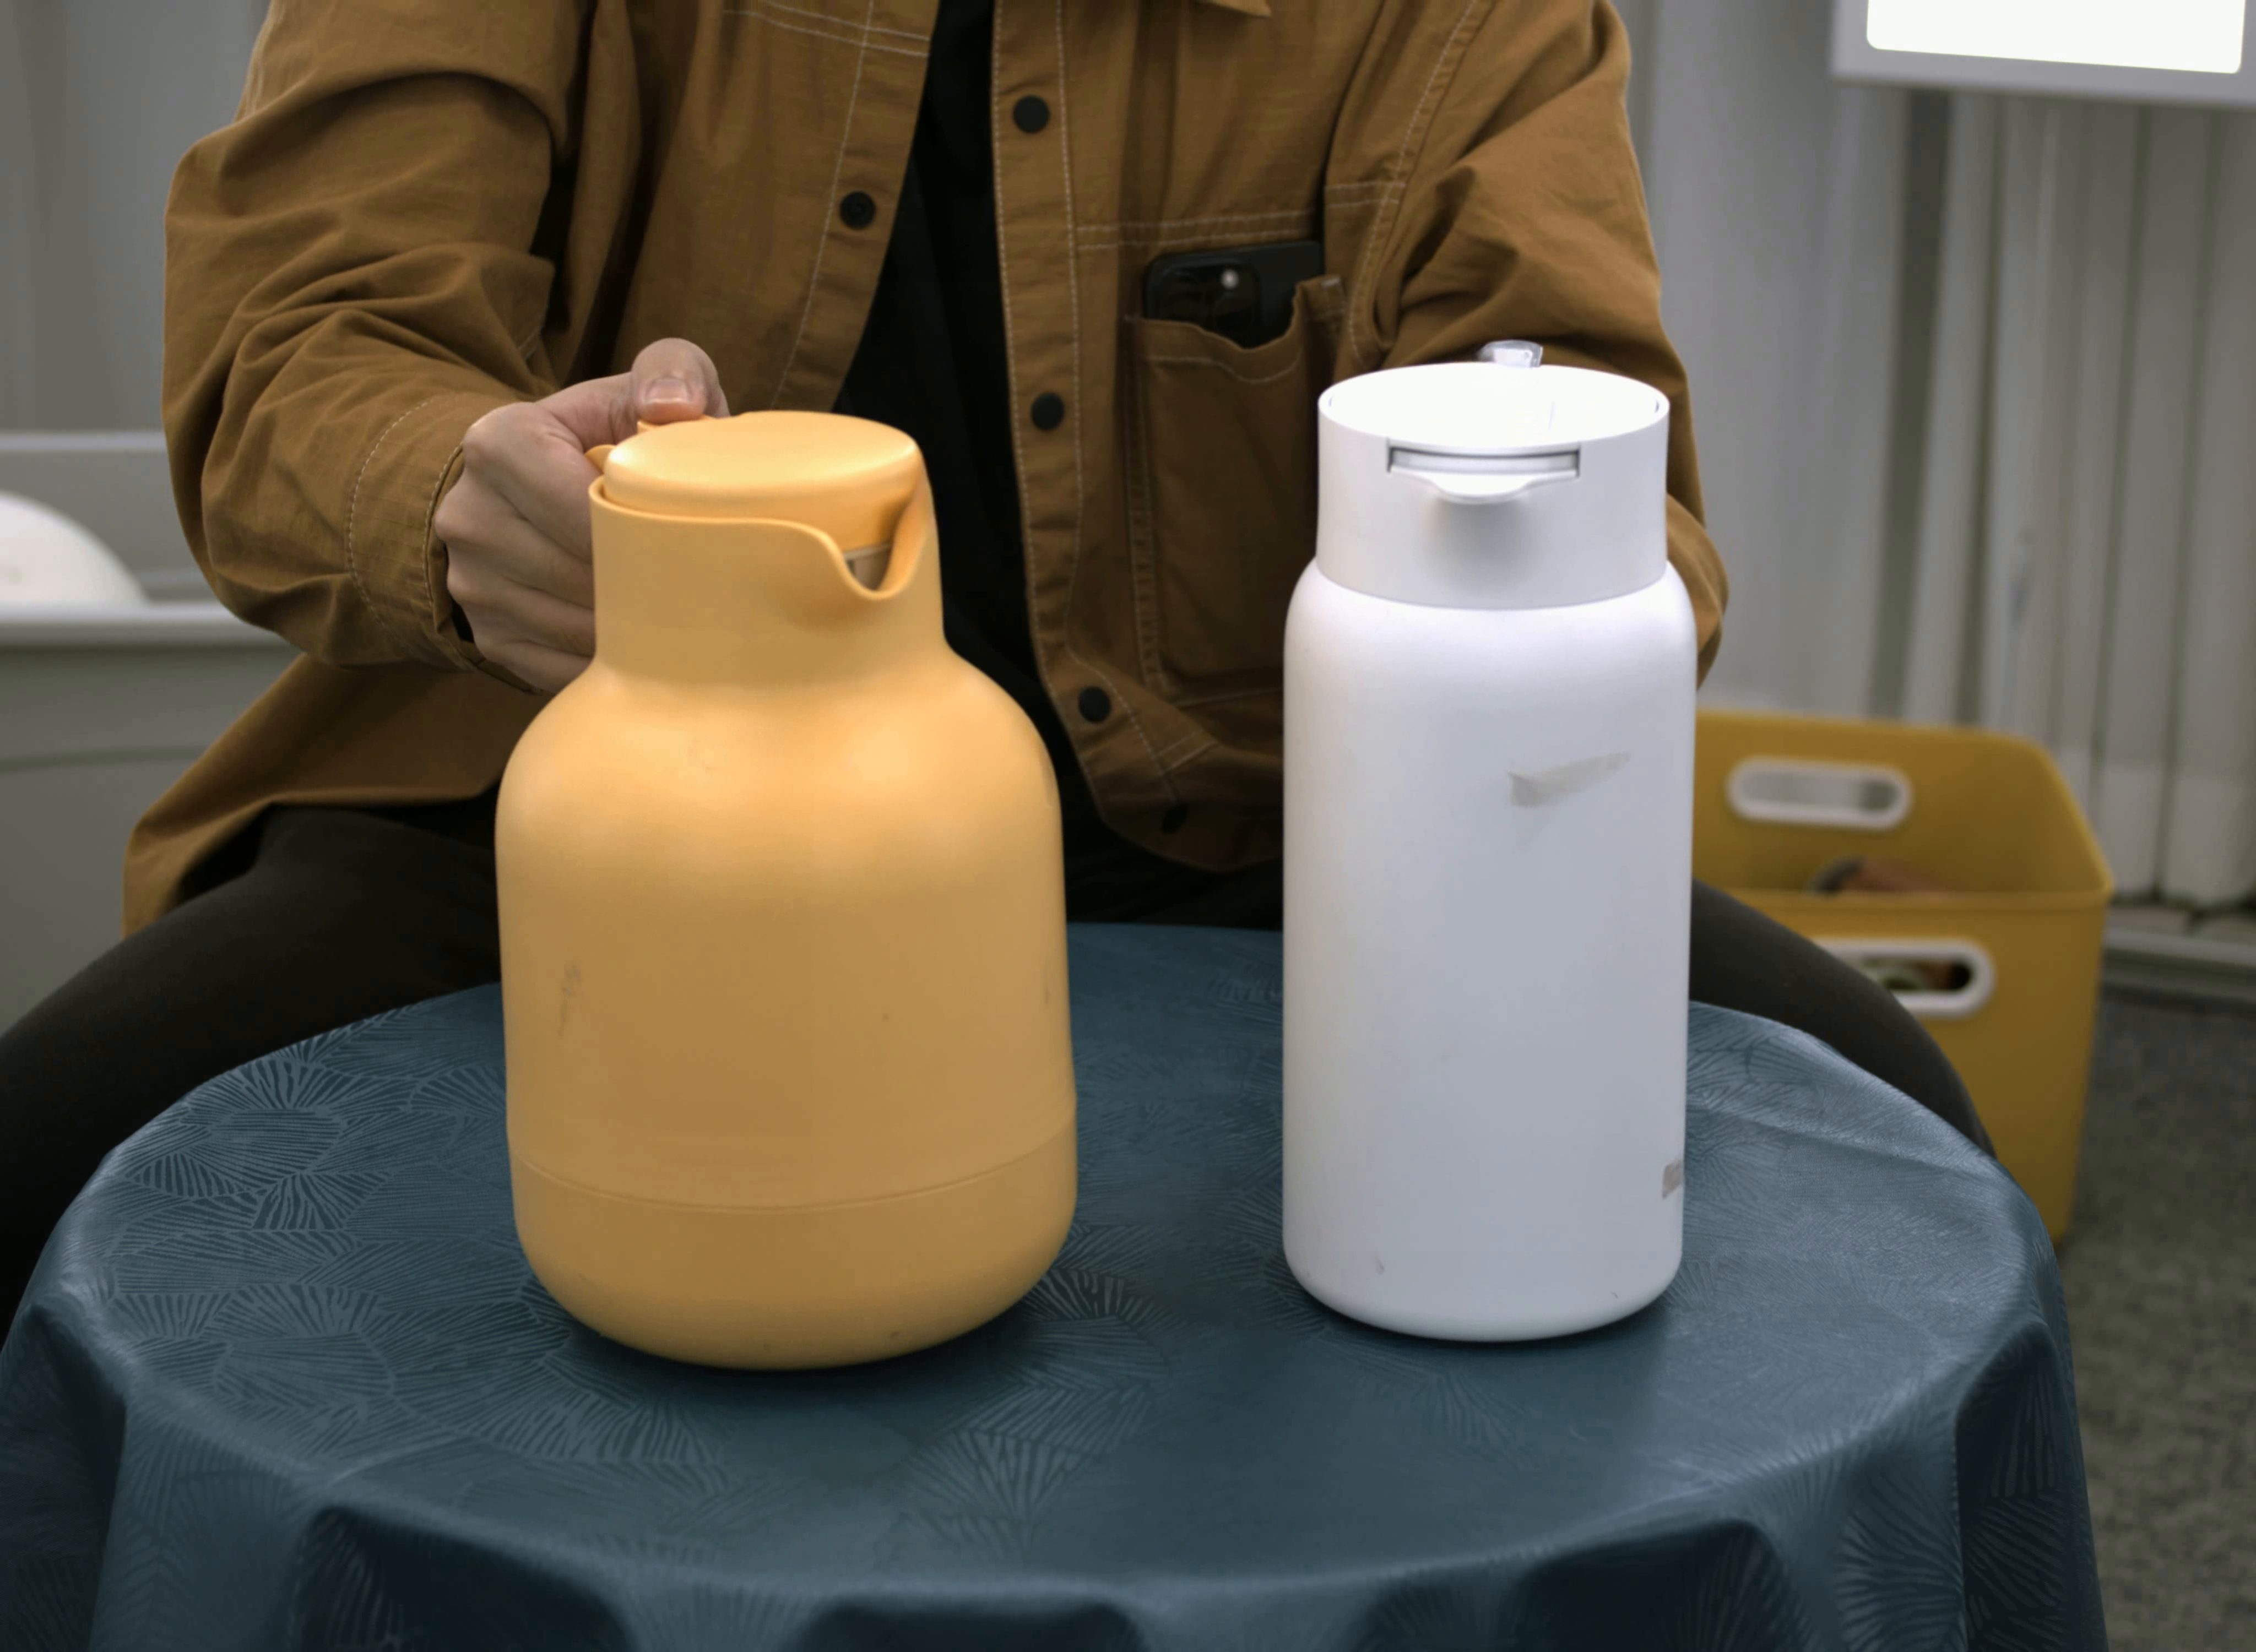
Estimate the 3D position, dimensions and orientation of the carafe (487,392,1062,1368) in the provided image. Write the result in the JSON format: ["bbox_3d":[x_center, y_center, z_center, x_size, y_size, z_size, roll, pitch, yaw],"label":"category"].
[{"bbox_3d":[-0.107,0.007,1.498,0.164,0.262,0.200,-7,19,-27],"label":"carafe"}]

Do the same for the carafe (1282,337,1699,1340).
[{"bbox_3d":[0.103,-0.001,1.519,0.123,0.271,0.172,0,19,7],"label":"carafe"}]
